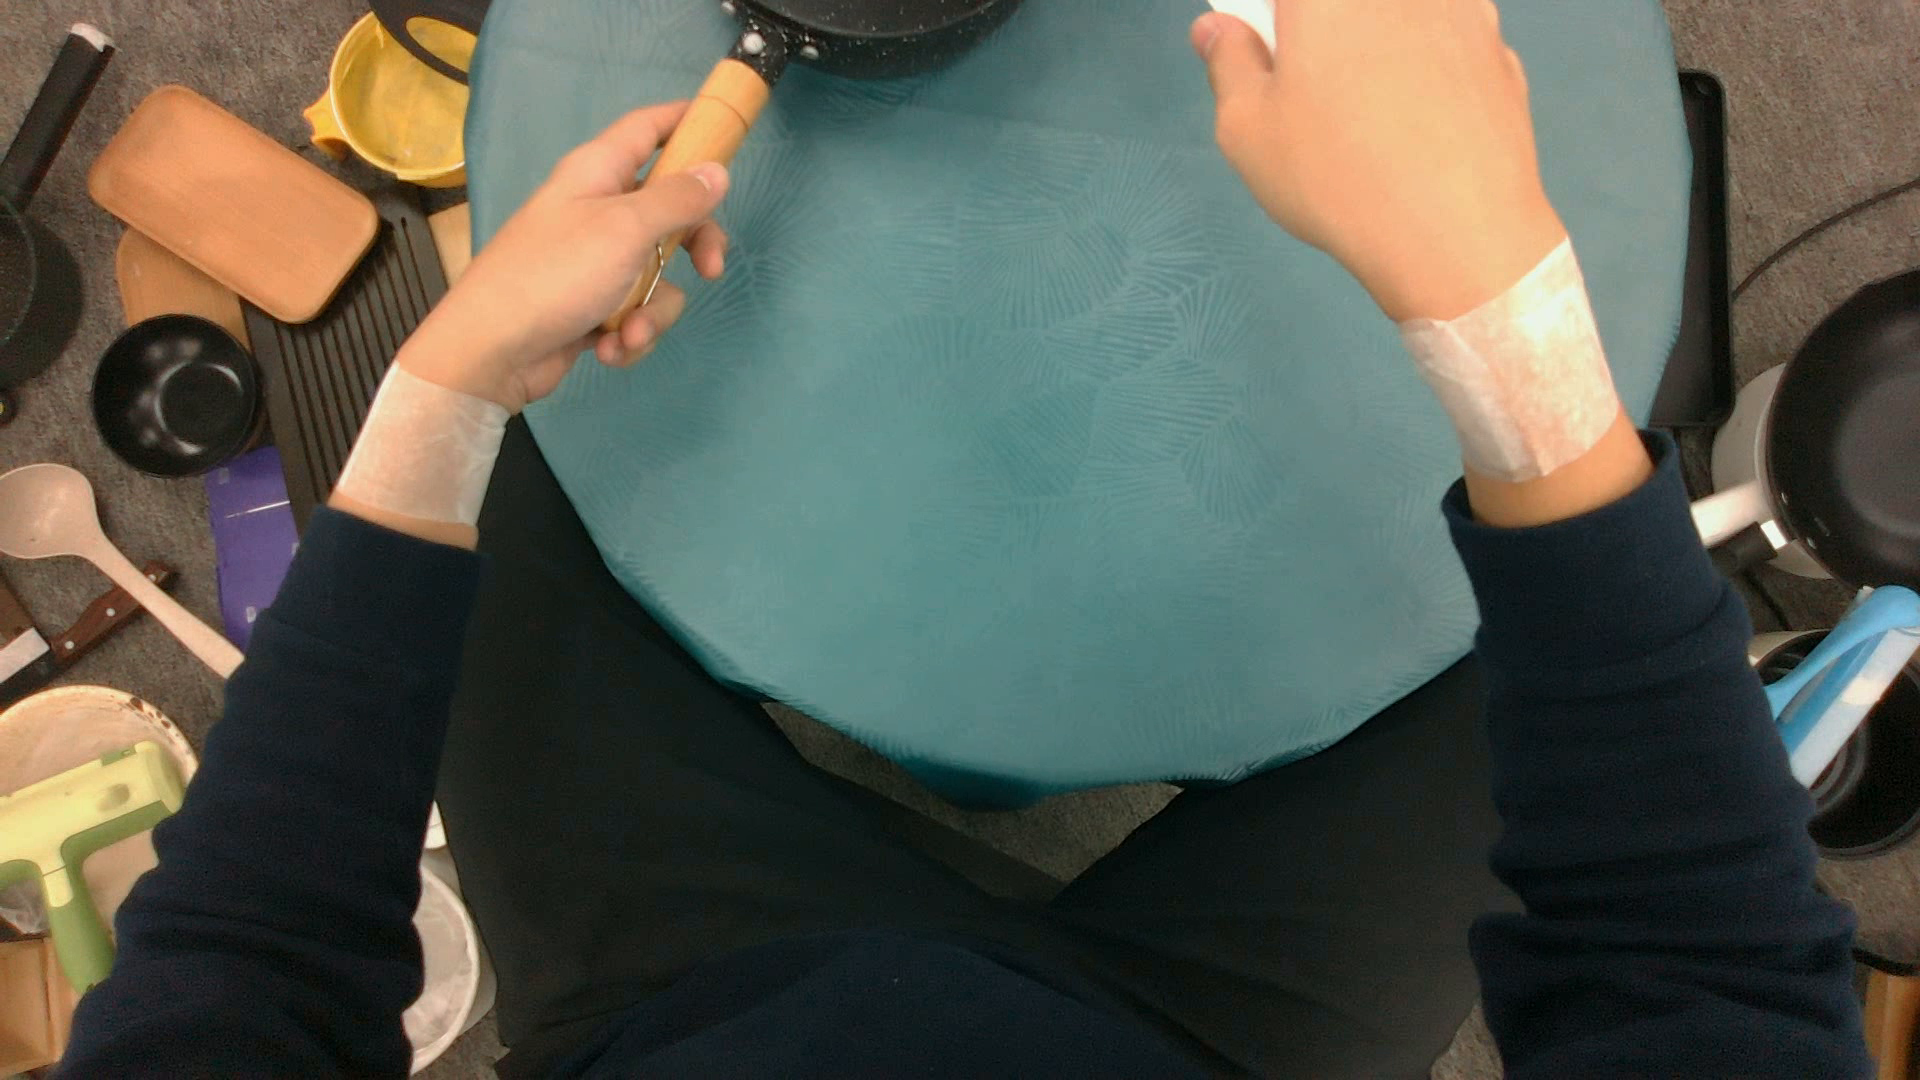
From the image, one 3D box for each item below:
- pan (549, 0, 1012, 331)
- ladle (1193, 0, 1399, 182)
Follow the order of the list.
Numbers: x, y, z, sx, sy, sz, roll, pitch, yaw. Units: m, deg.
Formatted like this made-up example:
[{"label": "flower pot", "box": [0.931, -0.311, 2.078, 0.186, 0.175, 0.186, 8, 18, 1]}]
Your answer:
[{"label": "pan", "box": [-0.080, -0.233, 0.615, 0.207, 0.108, 0.343, 26, 82, -2]}, {"label": "ladle", "box": [0.071, -0.245, 0.483, 0.090, 0.069, 0.294, -7, 54, -28]}]
